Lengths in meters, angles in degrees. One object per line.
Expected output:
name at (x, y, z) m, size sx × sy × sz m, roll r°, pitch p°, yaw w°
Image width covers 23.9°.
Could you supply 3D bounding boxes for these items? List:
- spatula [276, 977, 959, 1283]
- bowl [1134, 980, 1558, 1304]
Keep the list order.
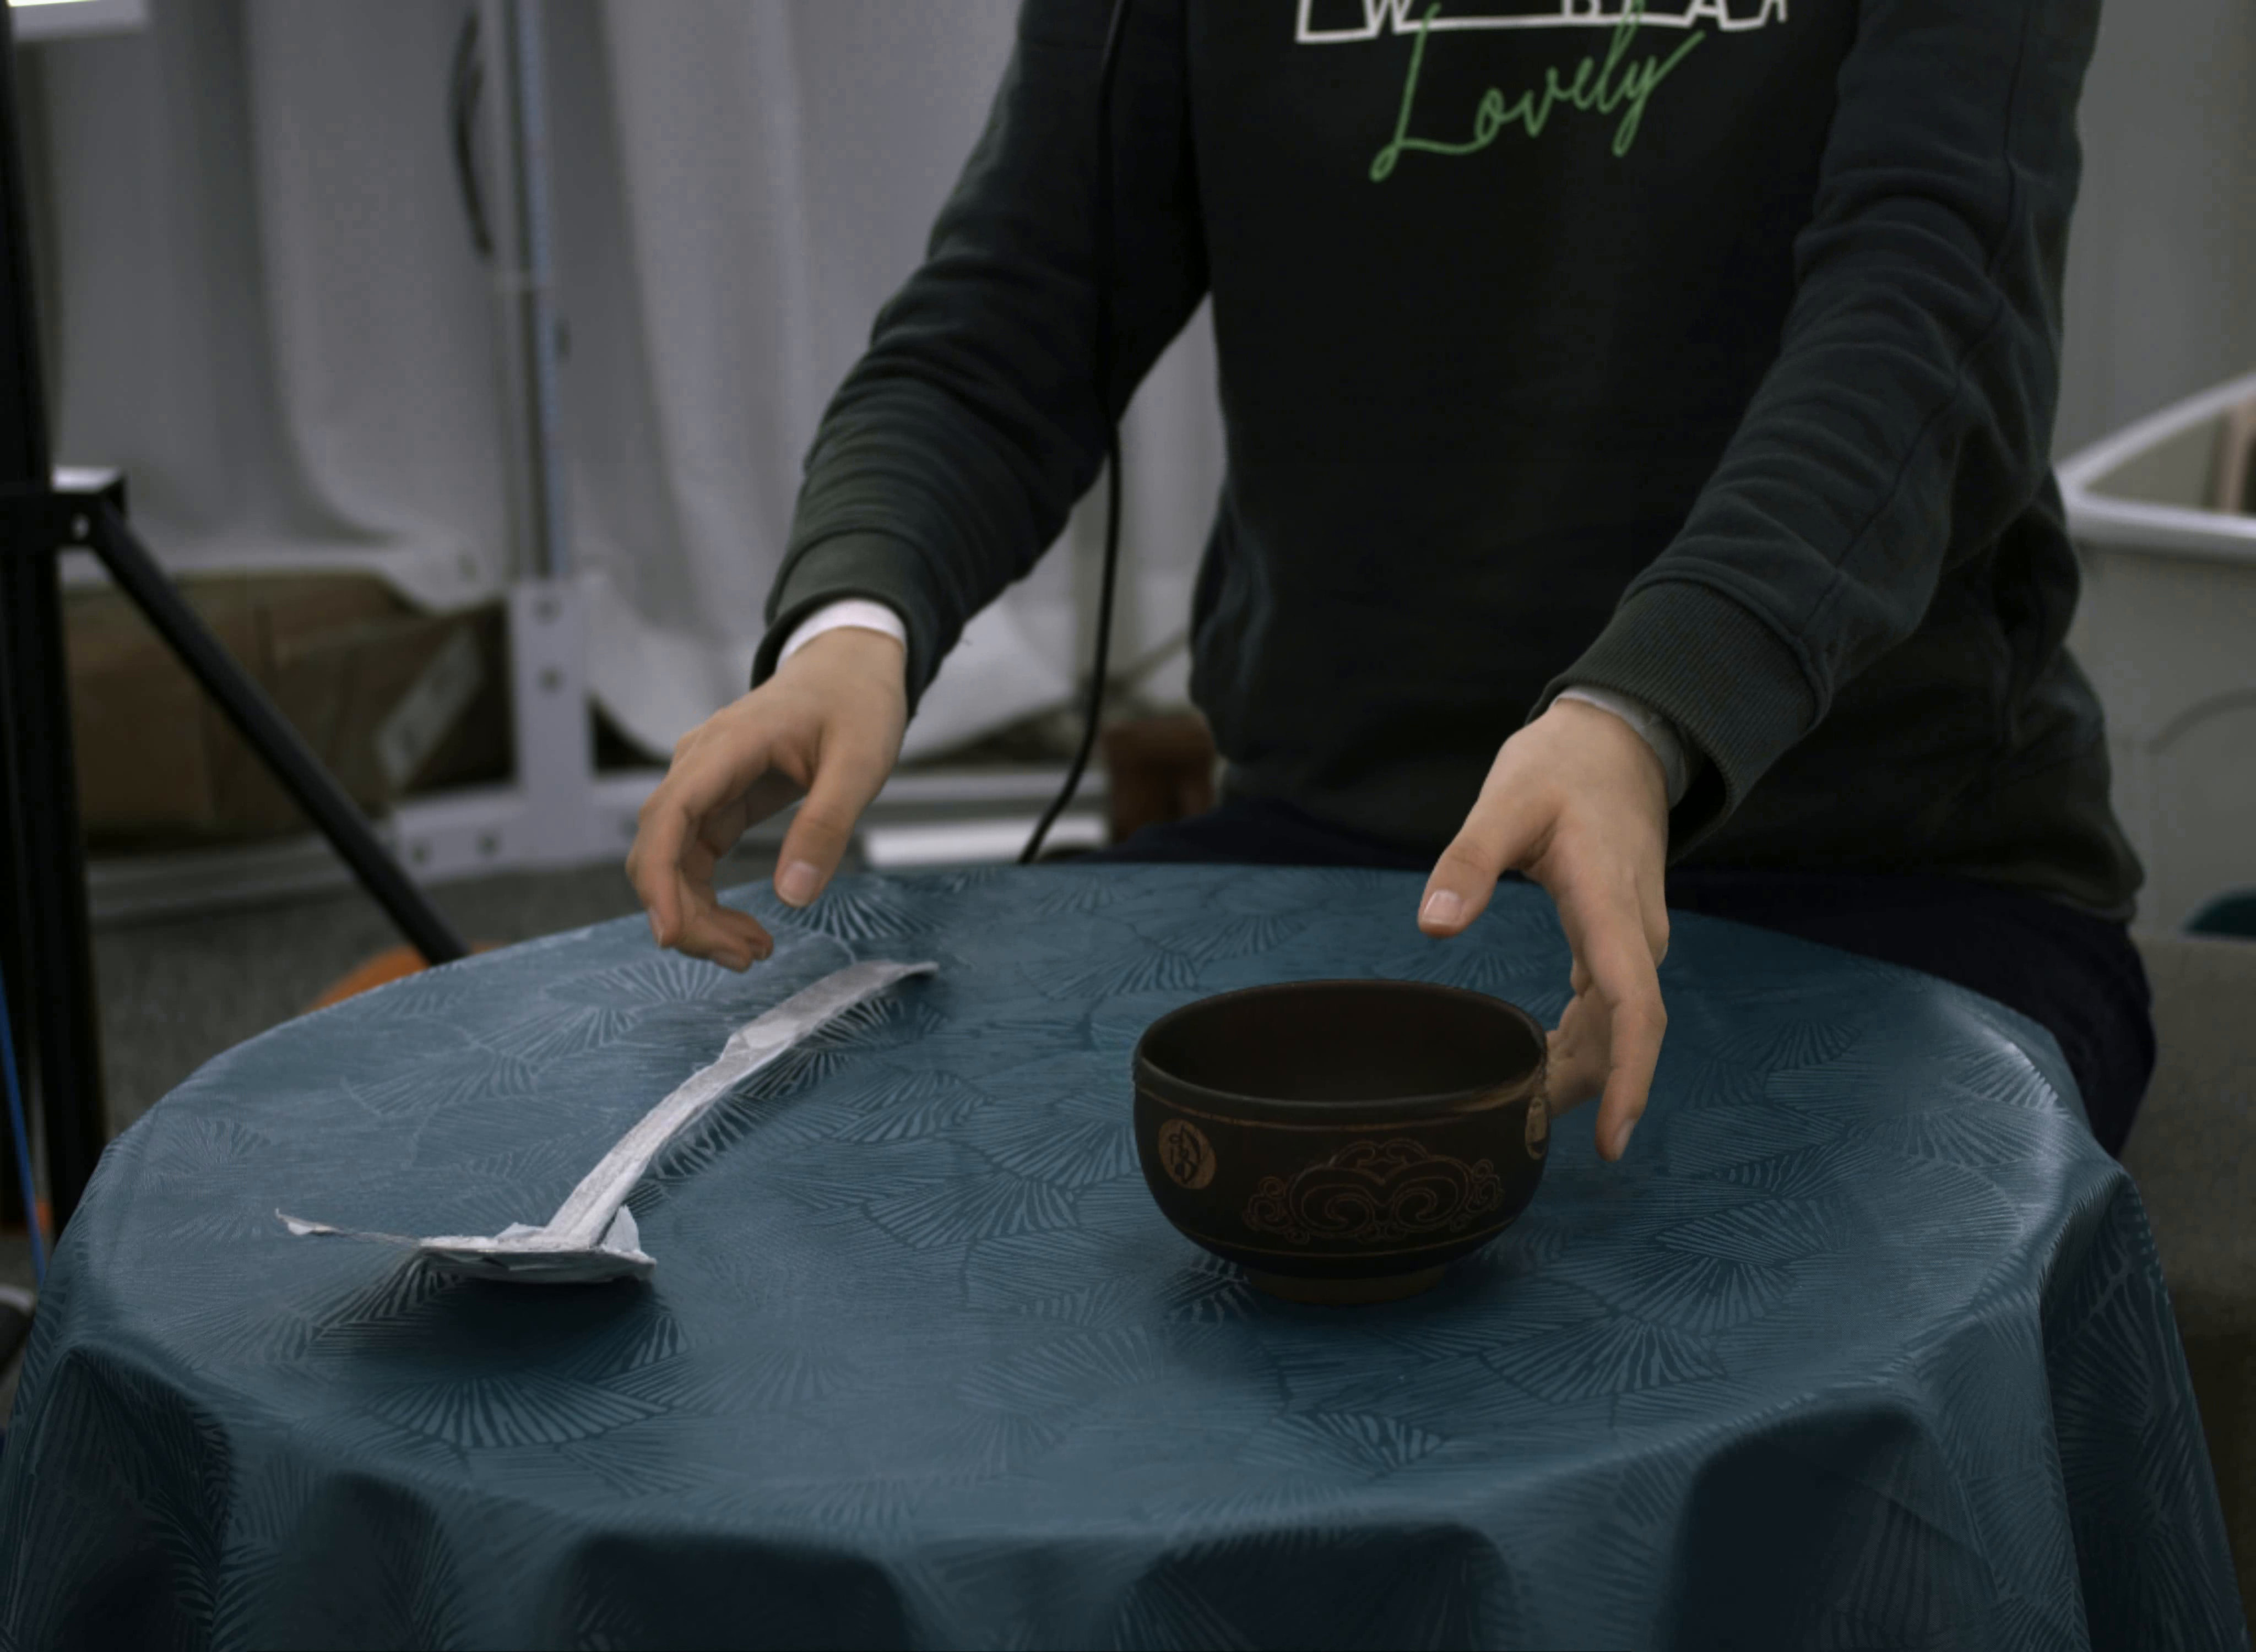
spatula at (-0.131, 0.082, 1.602) m, size 0.100 × 0.045 × 0.360 m, roll 2°, pitch 16°, yaw 21°
bowl at (0.061, 0.092, 1.477) m, size 0.117 × 0.070 × 0.118 m, roll -1°, pitch 14°, yaw -1°
